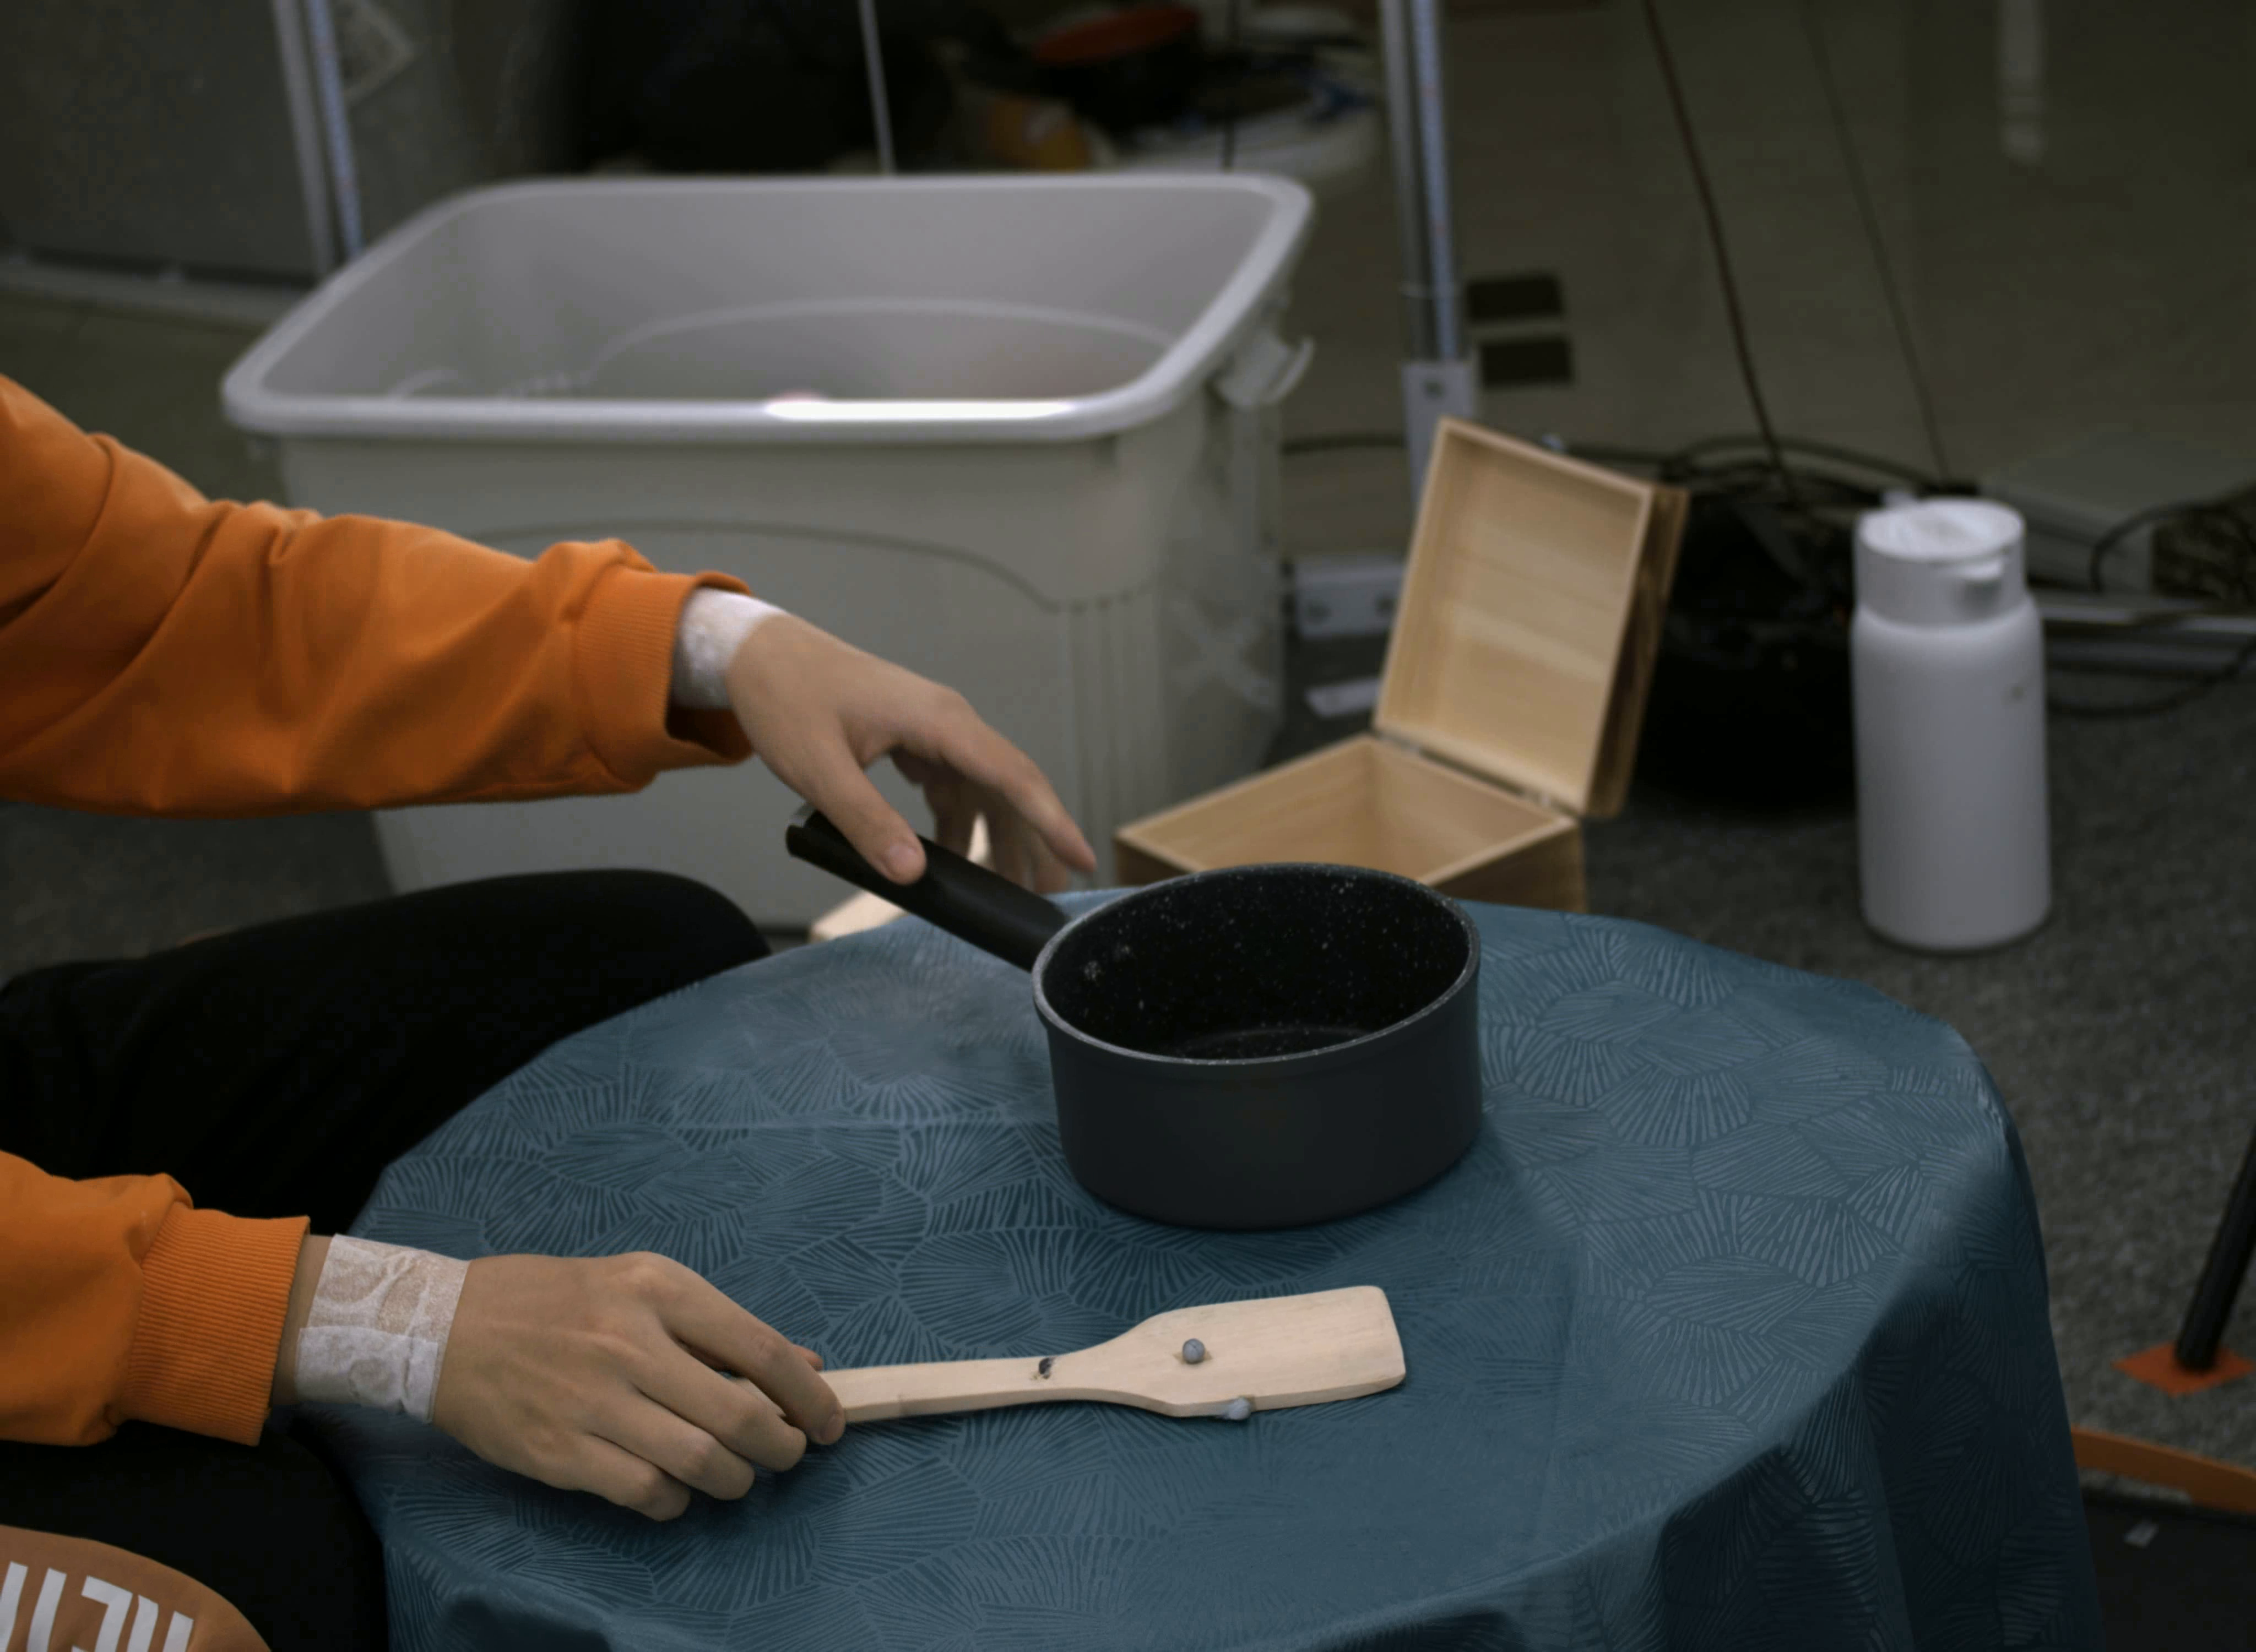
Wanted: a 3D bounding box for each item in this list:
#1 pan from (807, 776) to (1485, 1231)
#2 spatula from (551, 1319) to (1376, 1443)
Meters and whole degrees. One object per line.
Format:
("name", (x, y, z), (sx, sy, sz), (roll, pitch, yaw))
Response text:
("pan", (-0.005, 0.062, 2.211), (0.326, 0.088, 0.170), (20, 35, 41))
("spatula", (-0.059, 0.201, 2.013), (0.292, 0.011, 0.071), (-2, 27, -1))
